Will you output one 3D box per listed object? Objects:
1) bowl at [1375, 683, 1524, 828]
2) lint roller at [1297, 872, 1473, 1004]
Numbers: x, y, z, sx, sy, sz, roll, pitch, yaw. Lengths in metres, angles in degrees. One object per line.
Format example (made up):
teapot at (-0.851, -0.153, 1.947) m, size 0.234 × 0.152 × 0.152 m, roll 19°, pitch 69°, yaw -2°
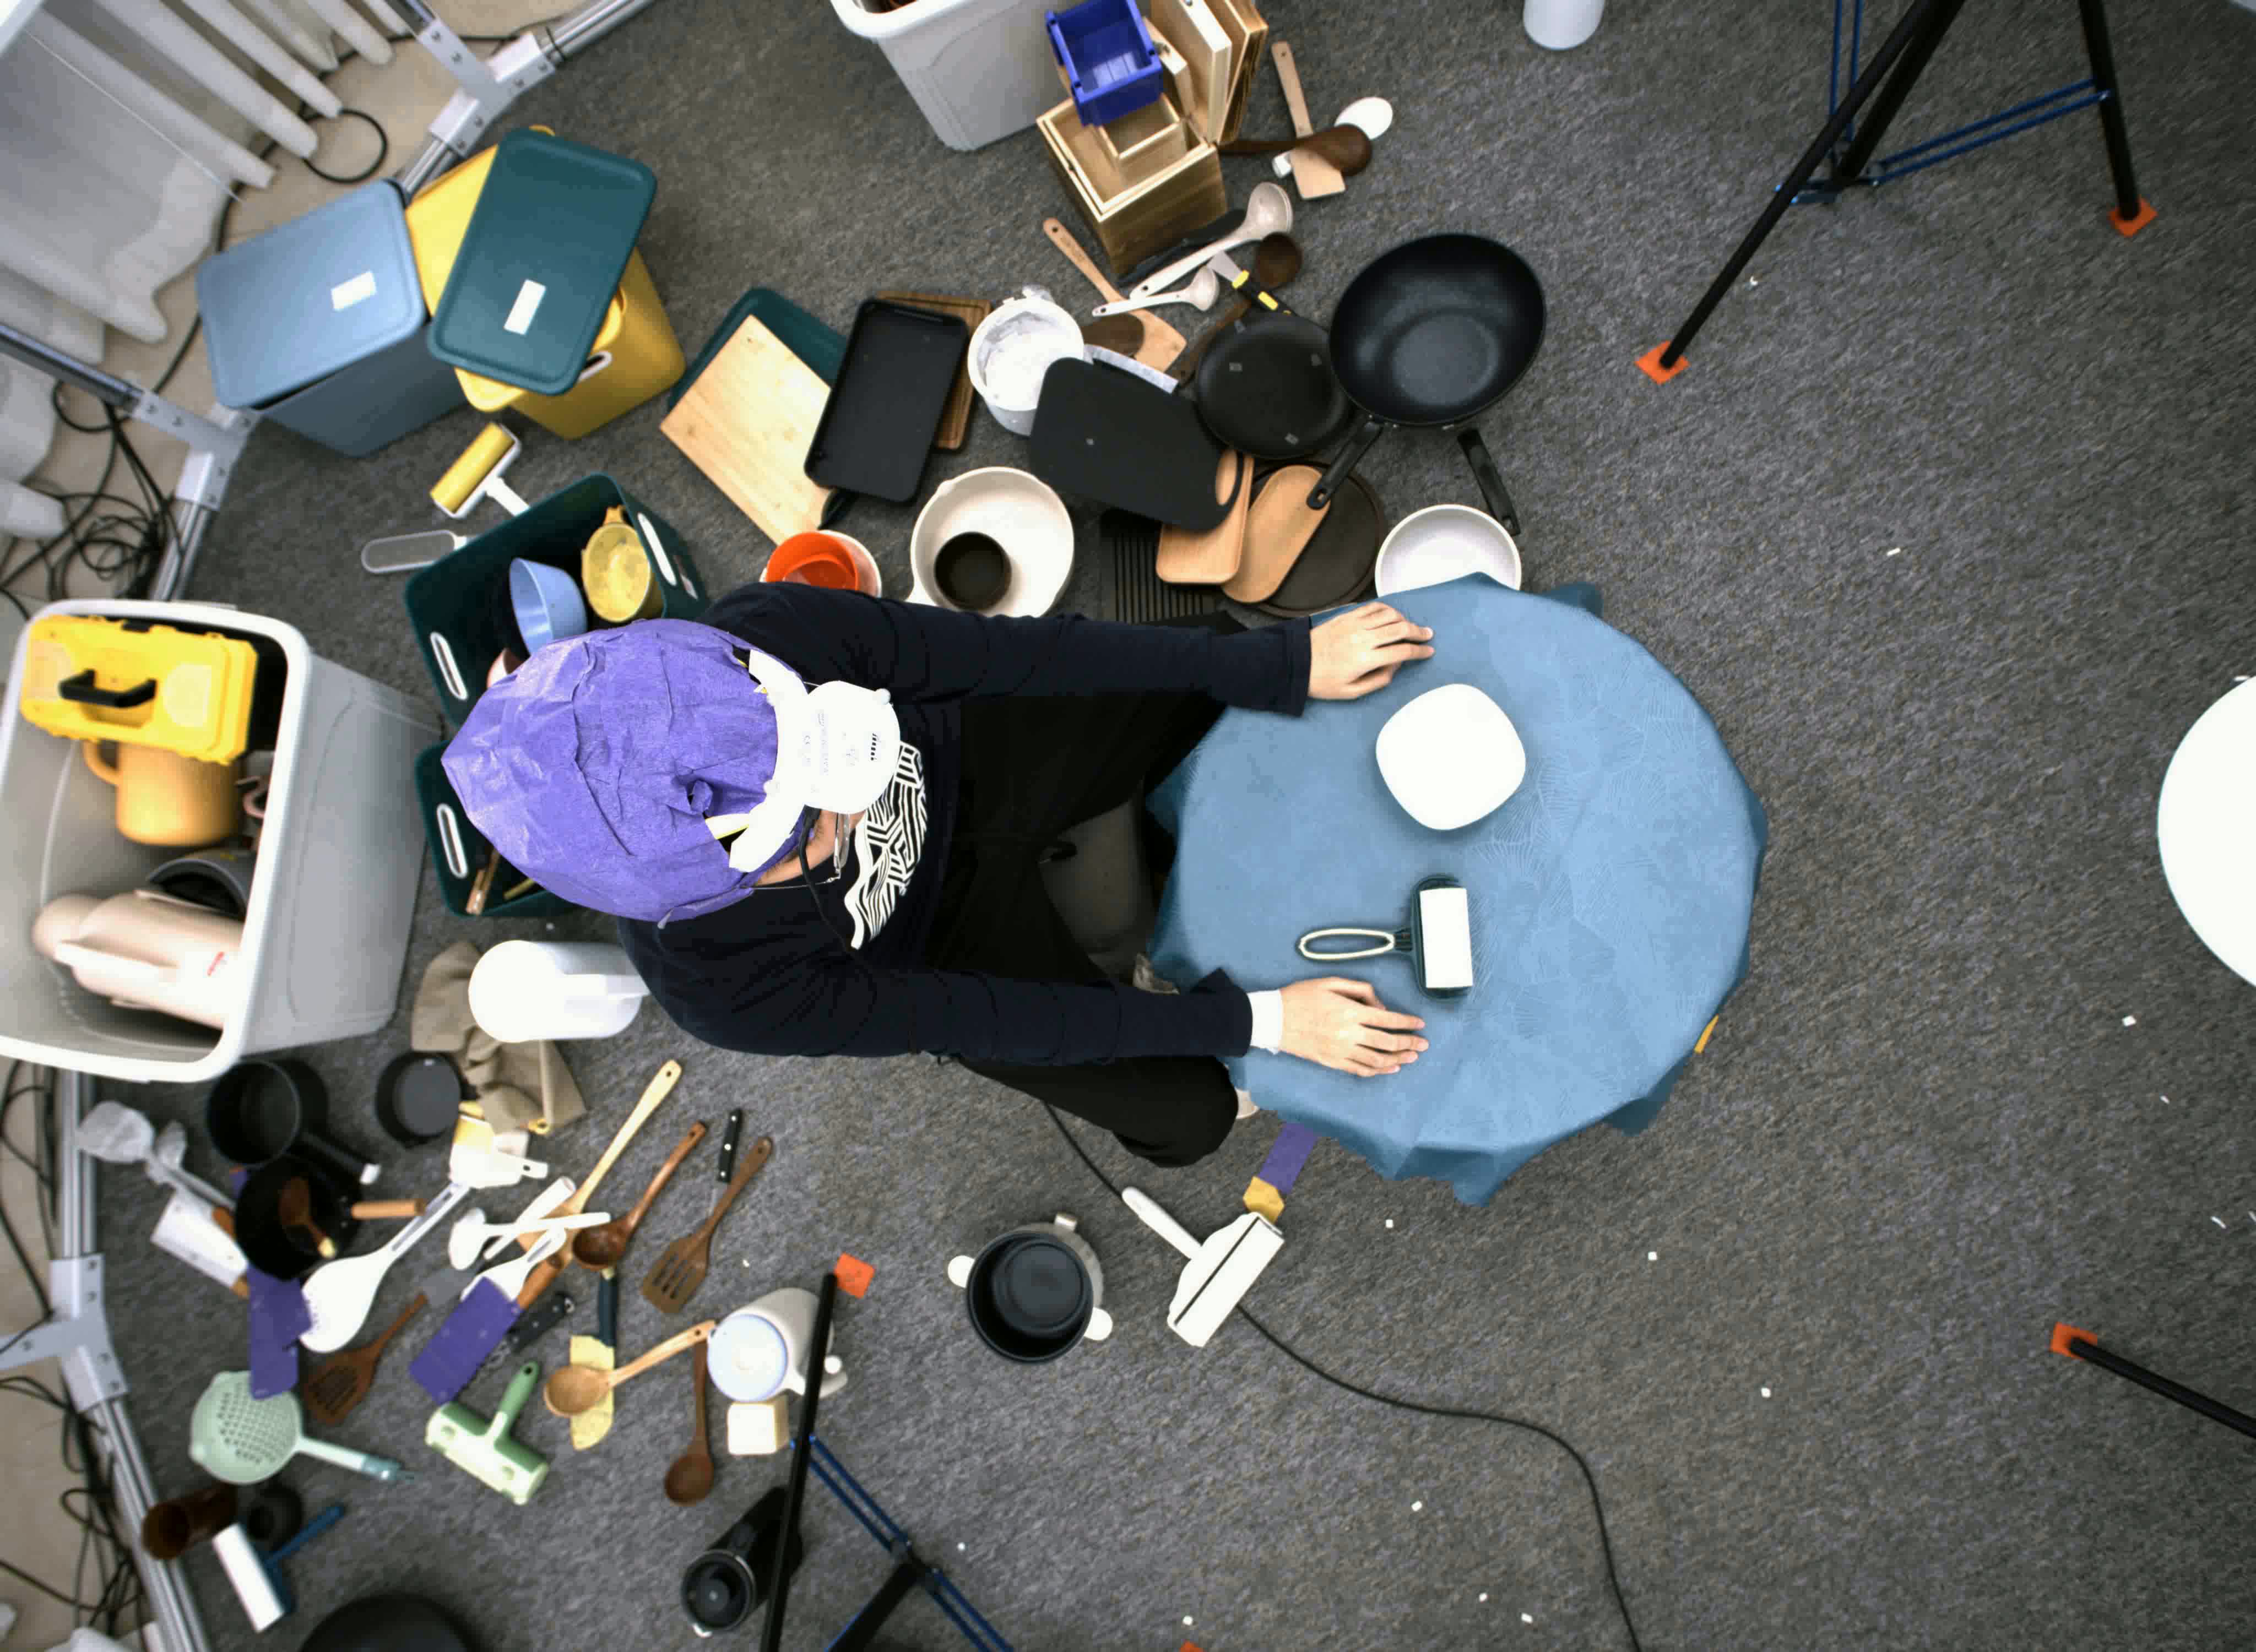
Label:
bowl at (0.331, -0.071, 1.427) m, size 0.152 × 0.059 × 0.151 m, roll -1°, pitch 86°, yaw 8°
lint roller at (0.263, 0.120, 1.439) m, size 0.181 × 0.048 × 0.133 m, roll -5°, pitch 86°, yaw 14°
